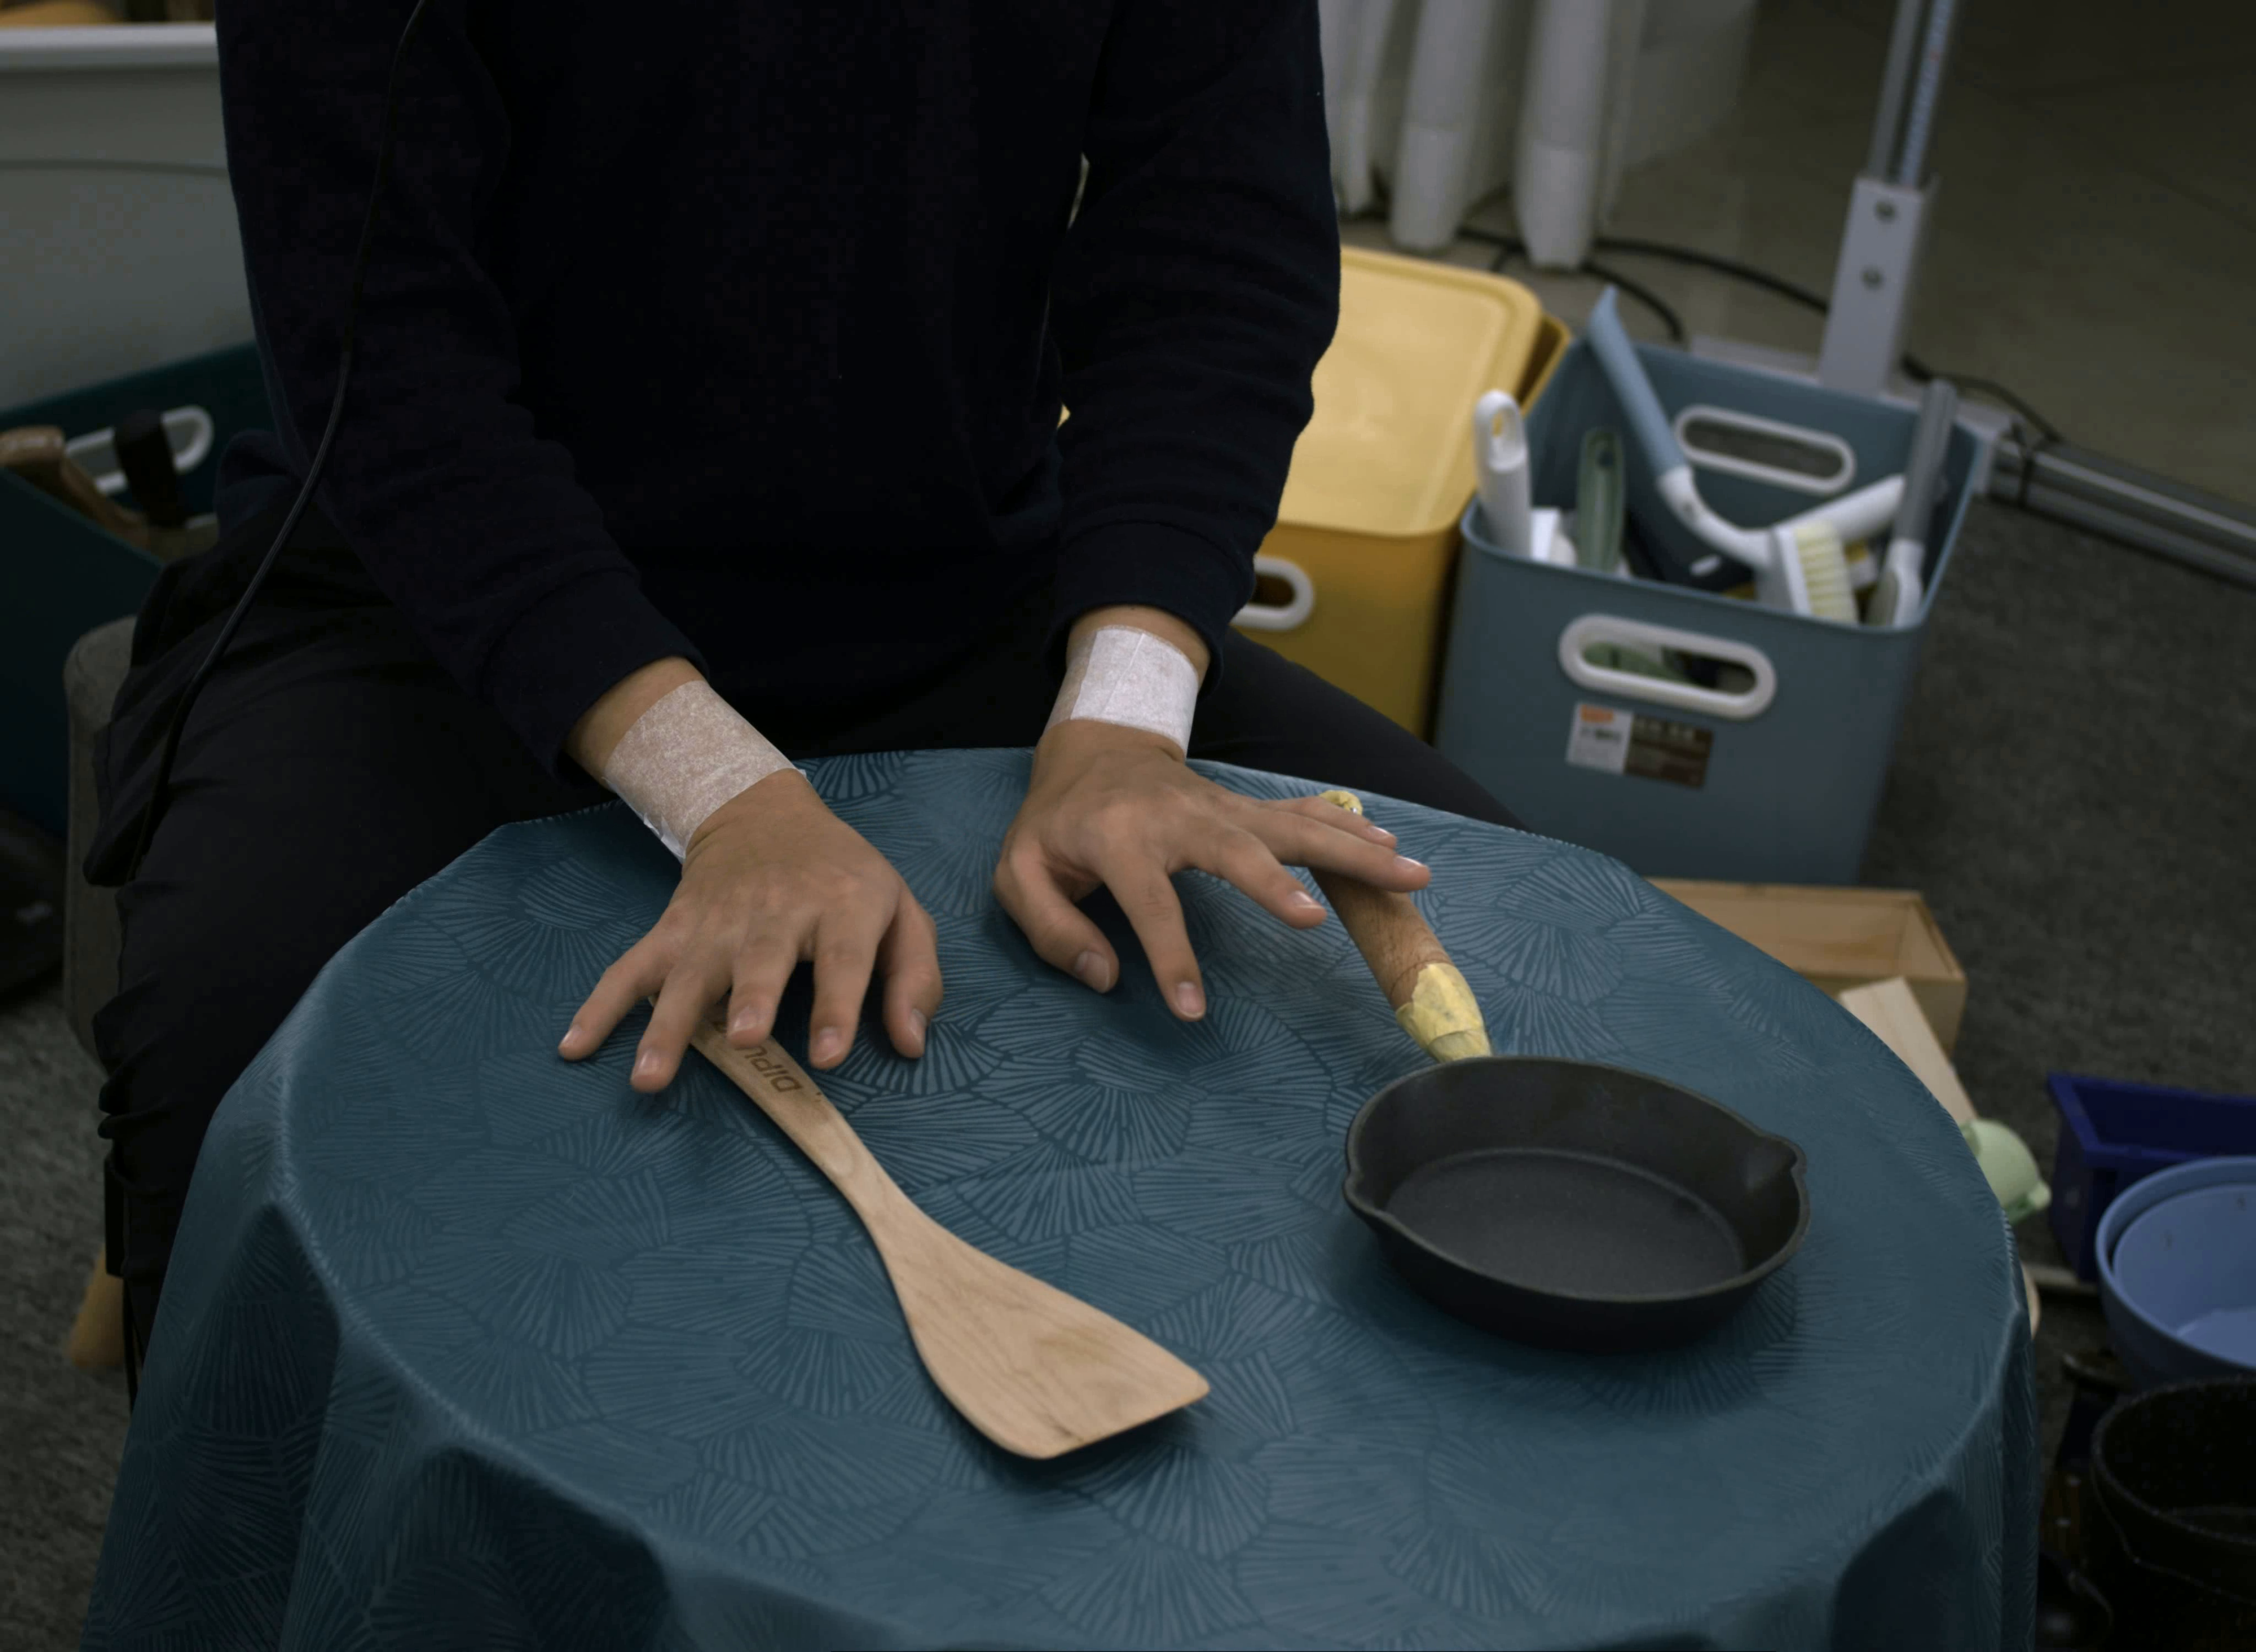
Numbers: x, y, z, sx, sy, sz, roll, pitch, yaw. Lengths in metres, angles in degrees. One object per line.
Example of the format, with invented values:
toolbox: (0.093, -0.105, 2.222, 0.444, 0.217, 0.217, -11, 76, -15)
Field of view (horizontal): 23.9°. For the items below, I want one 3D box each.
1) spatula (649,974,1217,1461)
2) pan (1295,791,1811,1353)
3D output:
spatula: (-0.079, 0.123, 1.768, 0.079, 0.016, 0.330, -10, 31, -29)
pan: (0.123, 0.083, 1.854, 0.168, 0.049, 0.327, -3, 30, -19)
